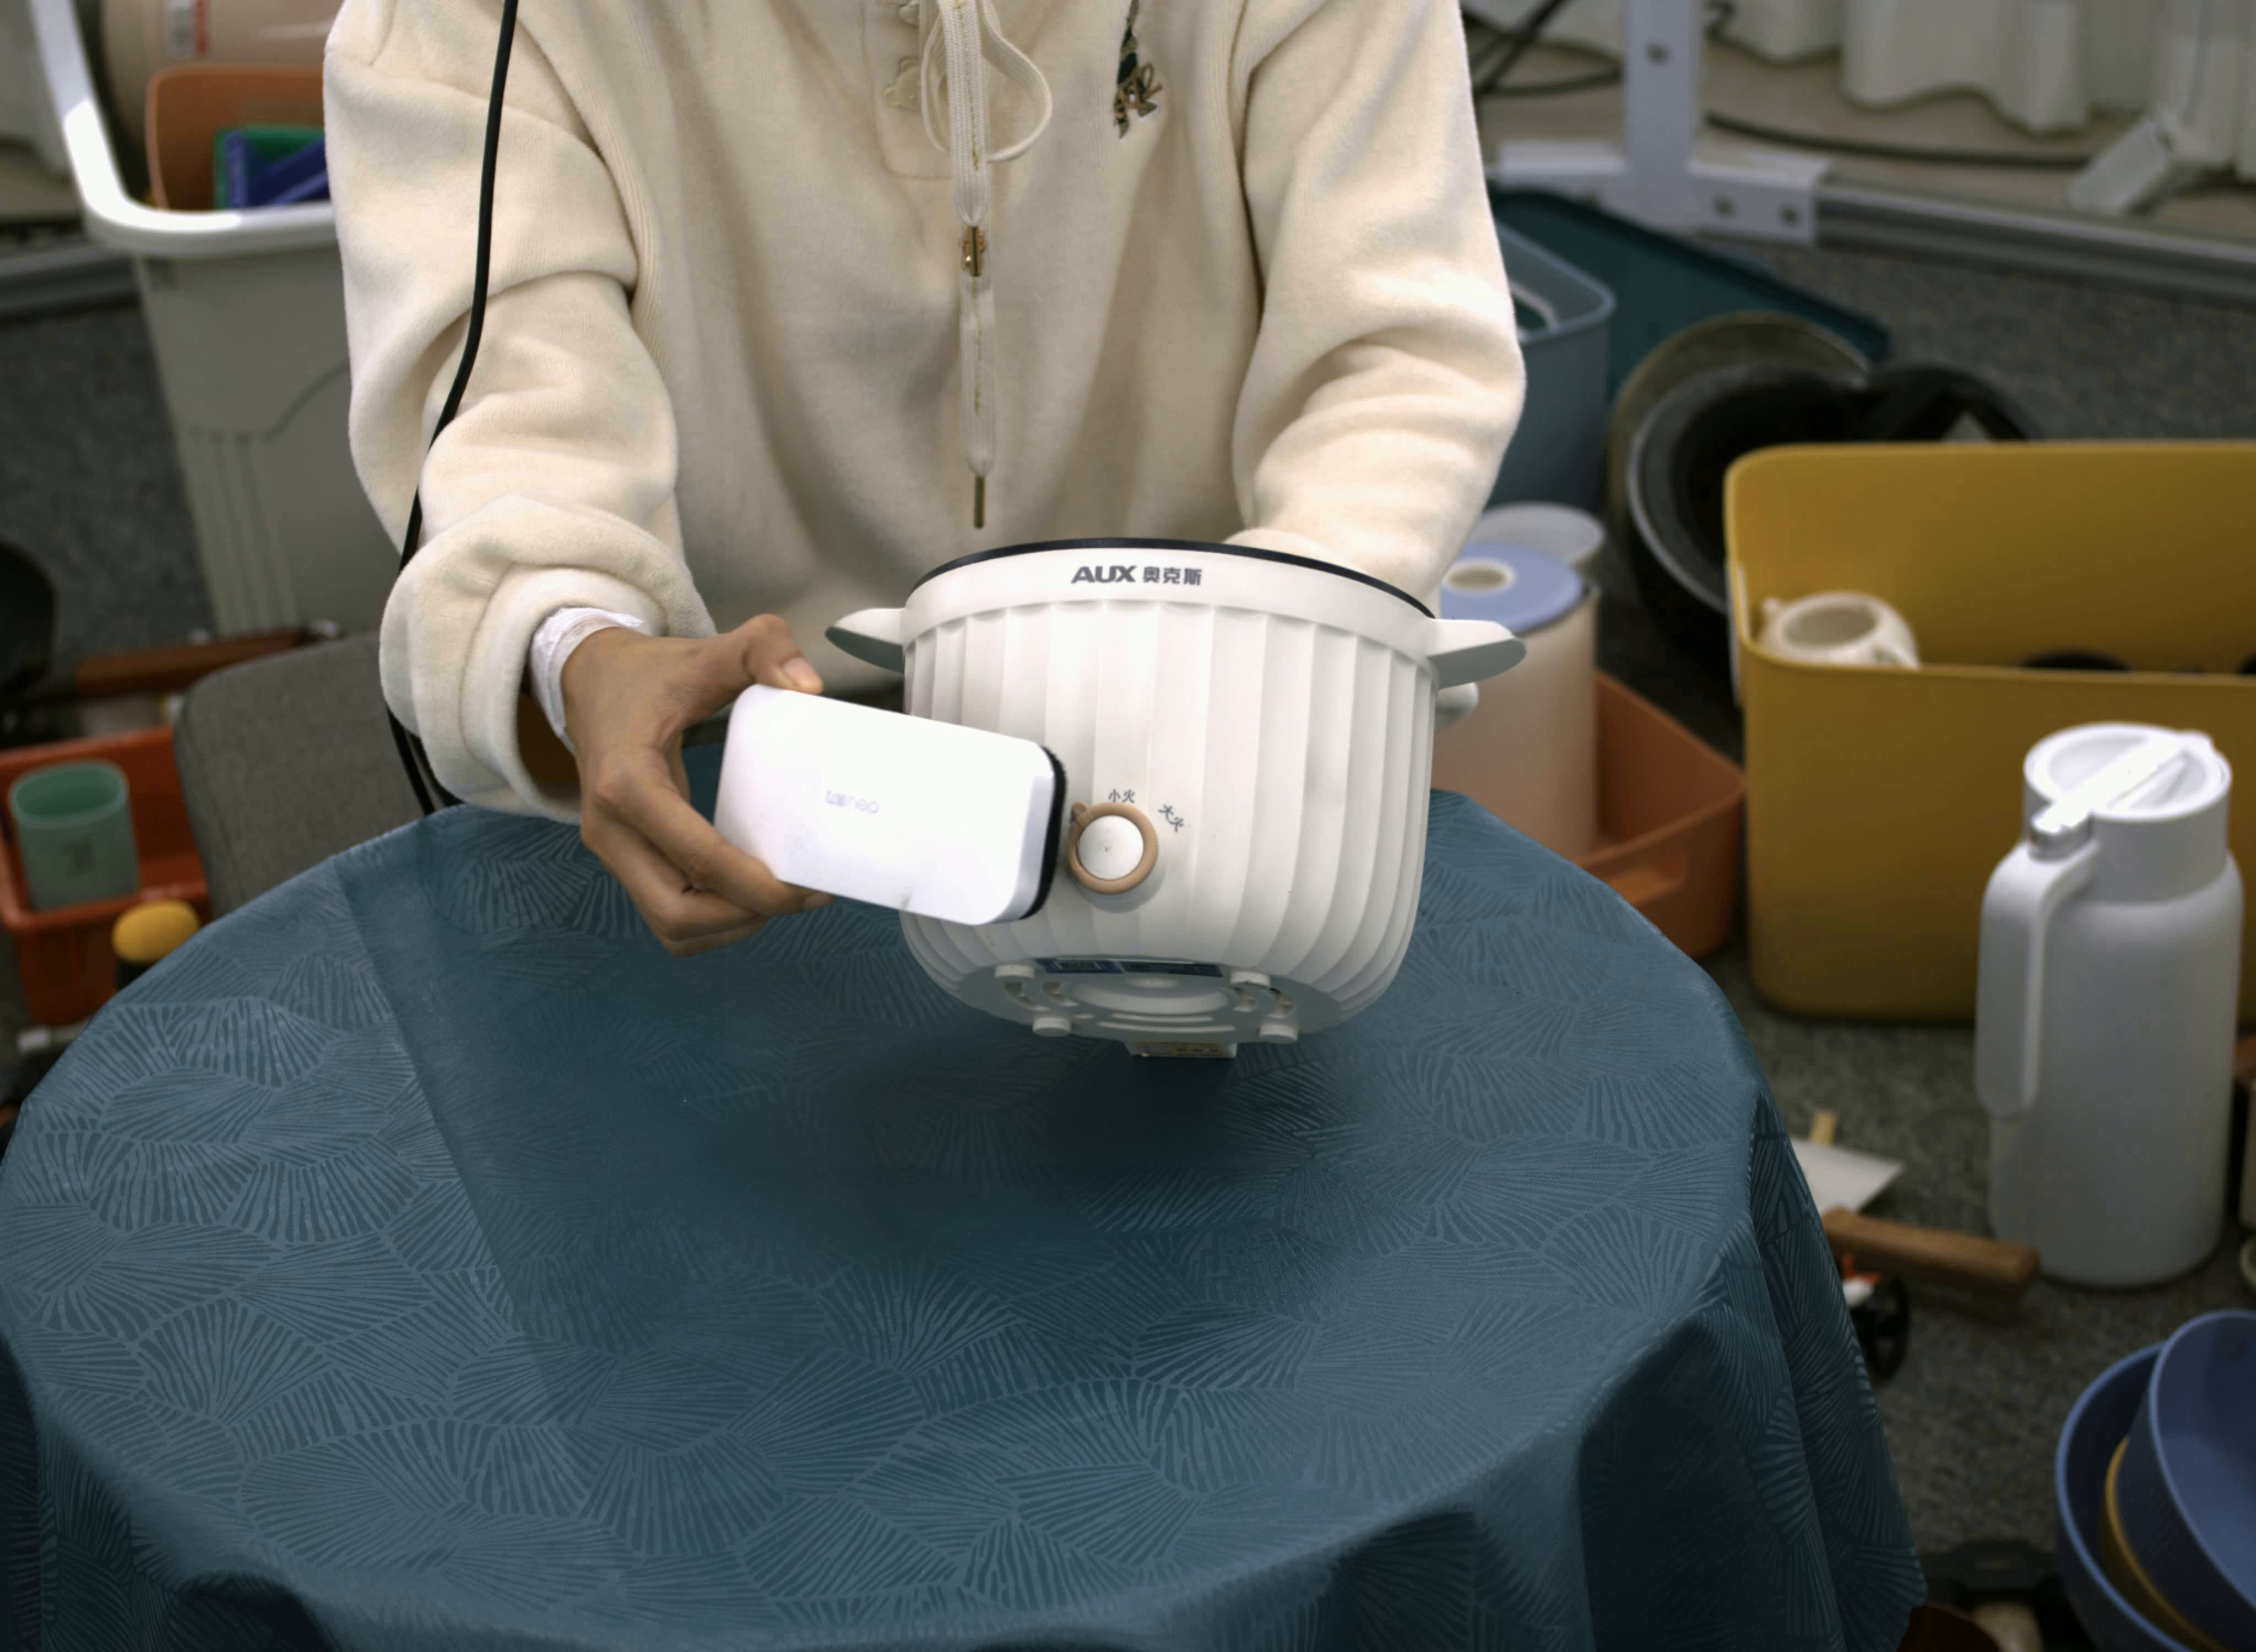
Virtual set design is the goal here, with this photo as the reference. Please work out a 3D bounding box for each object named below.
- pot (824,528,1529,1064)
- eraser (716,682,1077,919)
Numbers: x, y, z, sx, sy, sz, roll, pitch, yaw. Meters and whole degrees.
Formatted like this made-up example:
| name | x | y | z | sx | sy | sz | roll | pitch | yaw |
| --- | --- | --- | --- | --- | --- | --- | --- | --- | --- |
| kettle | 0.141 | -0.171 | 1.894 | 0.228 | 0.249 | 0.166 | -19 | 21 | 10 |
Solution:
| name | x | y | z | sx | sy | sz | roll | pitch | yaw |
| --- | --- | --- | --- | --- | --- | --- | --- | --- | --- |
| pot | 0.012 | -0.007 | 1.873 | 0.239 | 0.188 | 0.145 | 1 | 70 | 7 |
| eraser | -0.076 | -0.009 | 1.784 | 0.130 | 0.063 | 0.034 | 12 | 0 | 38 |
